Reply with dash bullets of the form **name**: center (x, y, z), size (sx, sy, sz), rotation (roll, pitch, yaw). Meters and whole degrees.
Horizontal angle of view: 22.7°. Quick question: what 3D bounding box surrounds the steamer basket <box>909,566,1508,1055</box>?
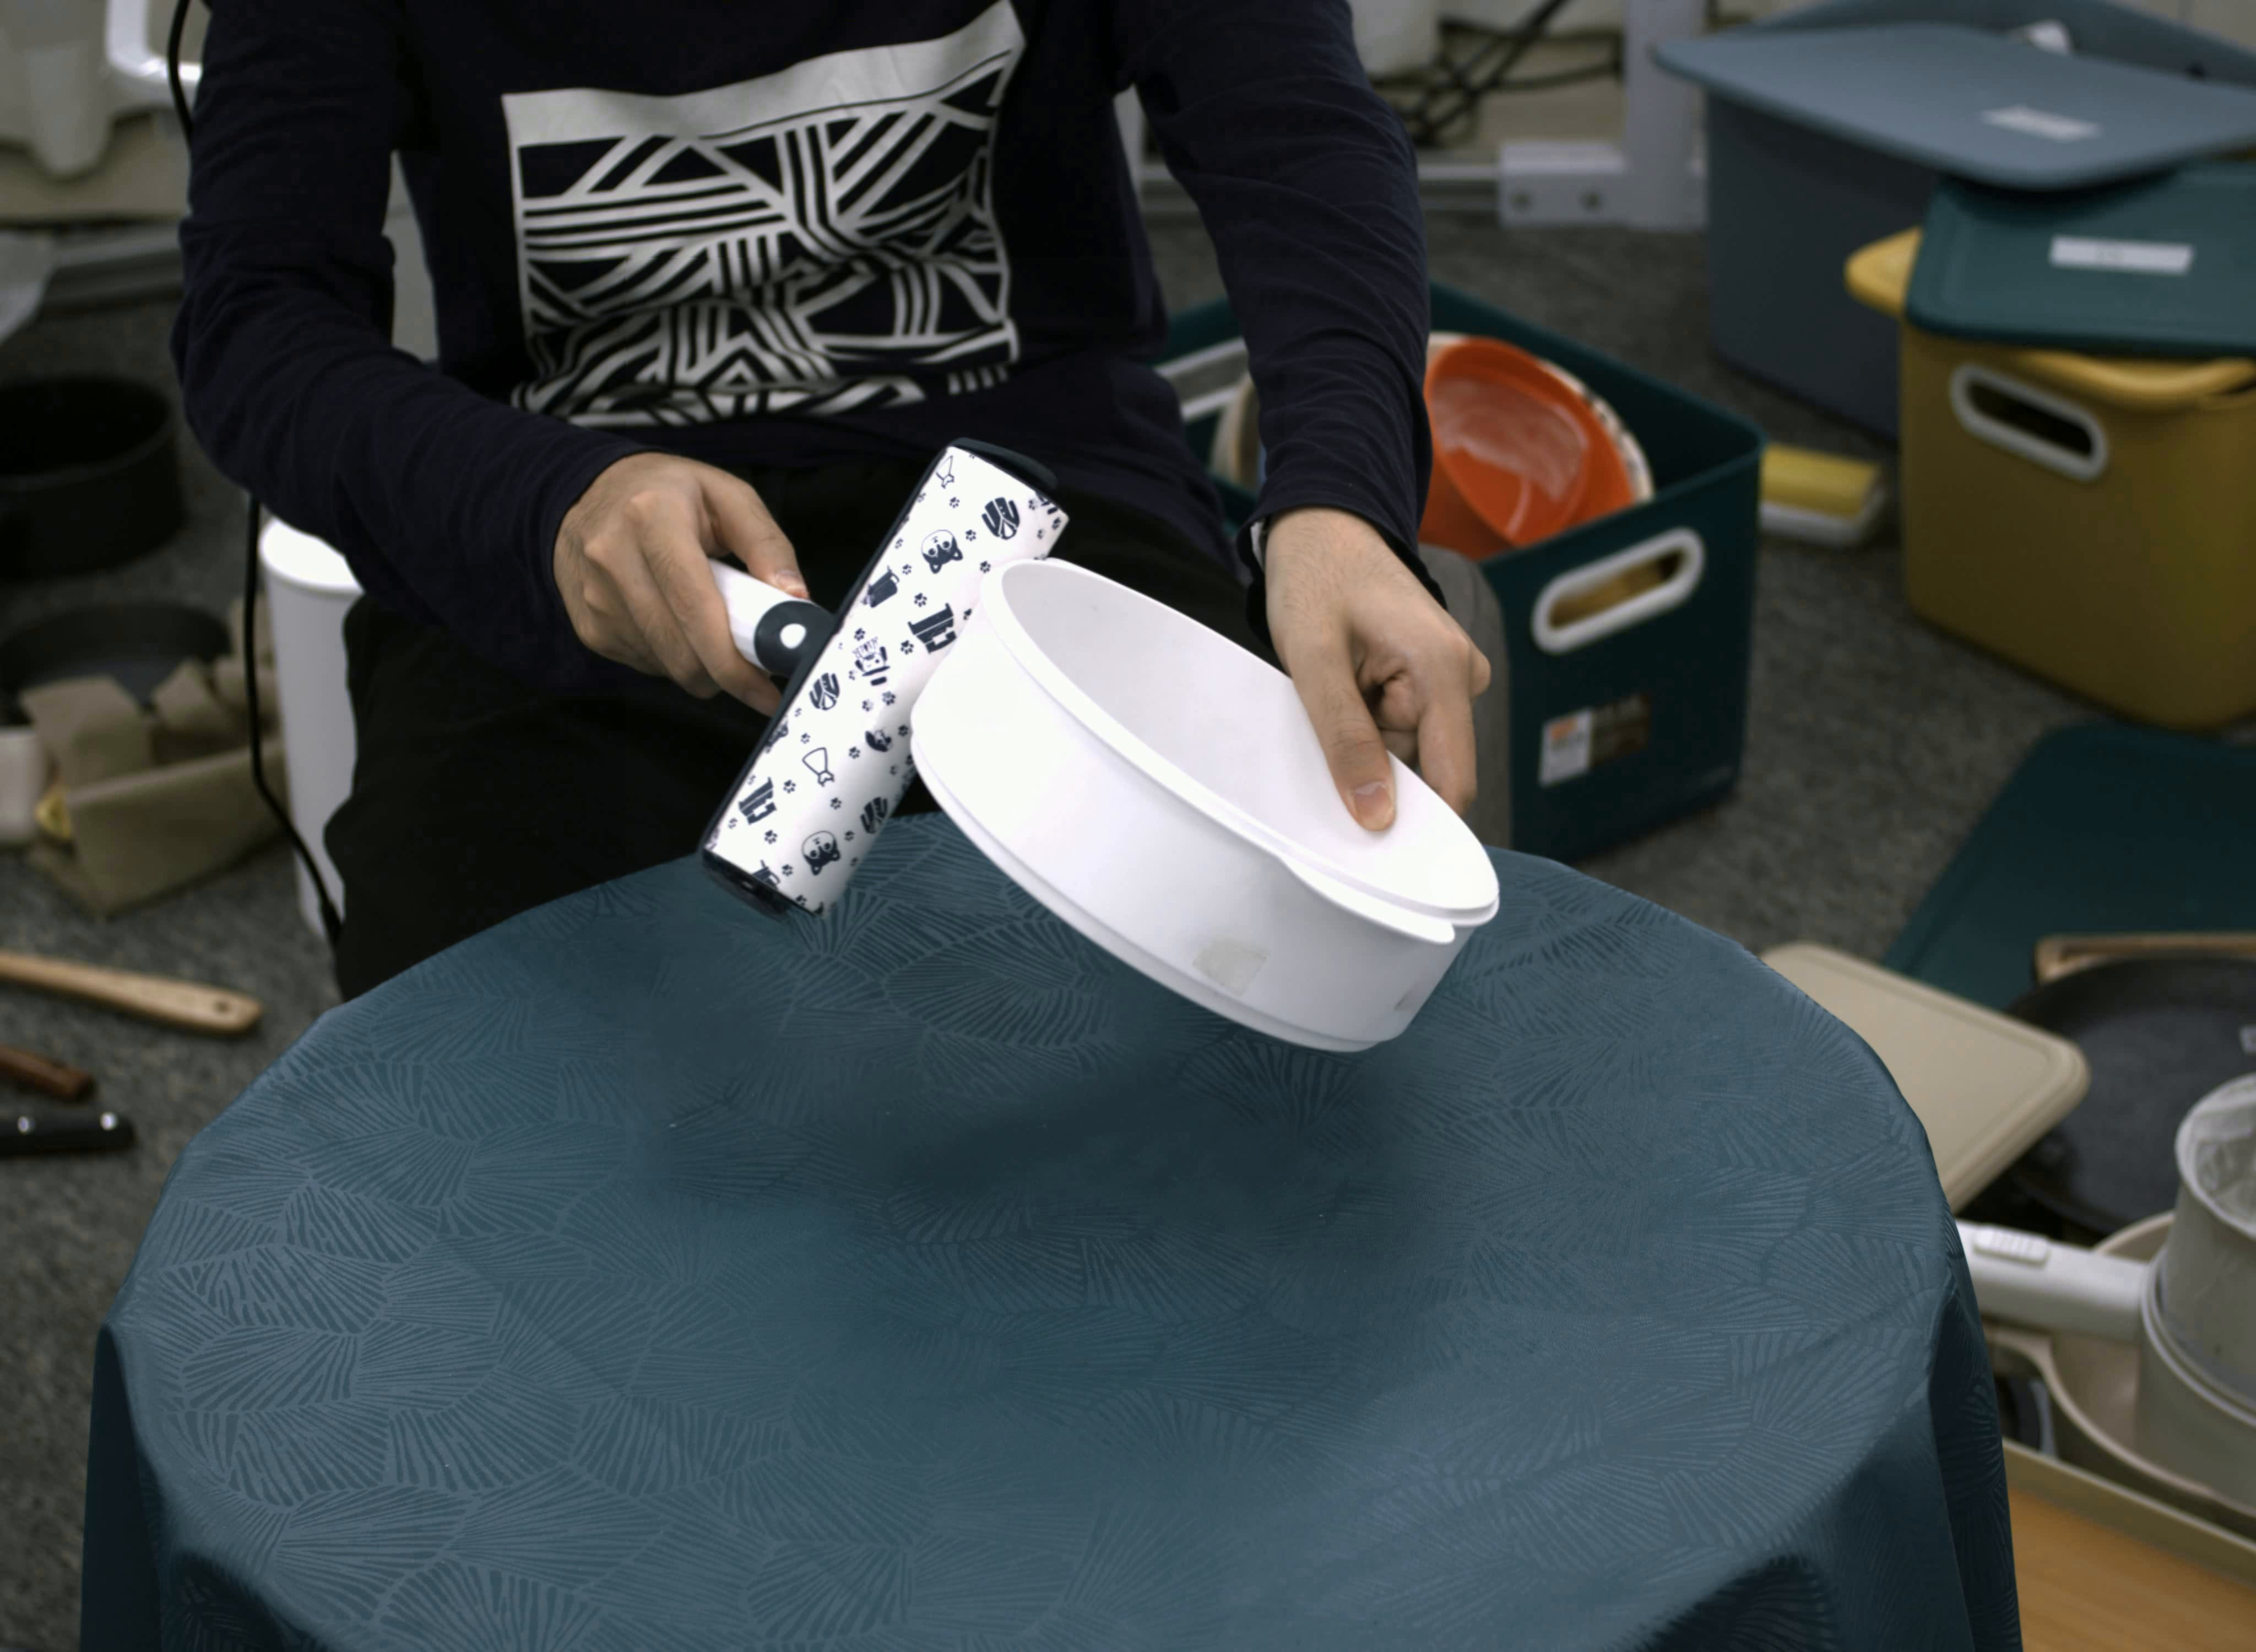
- **steamer basket**: center (0.024, -0.003, 1.833), size (0.201, 0.069, 0.232), rotation (23, 16, -36)

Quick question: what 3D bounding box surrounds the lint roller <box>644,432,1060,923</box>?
- **lint roller**: center (-0.125, -0.067, 1.980), size (0.050, 0.177, 0.247), rotation (33, -6, -29)
